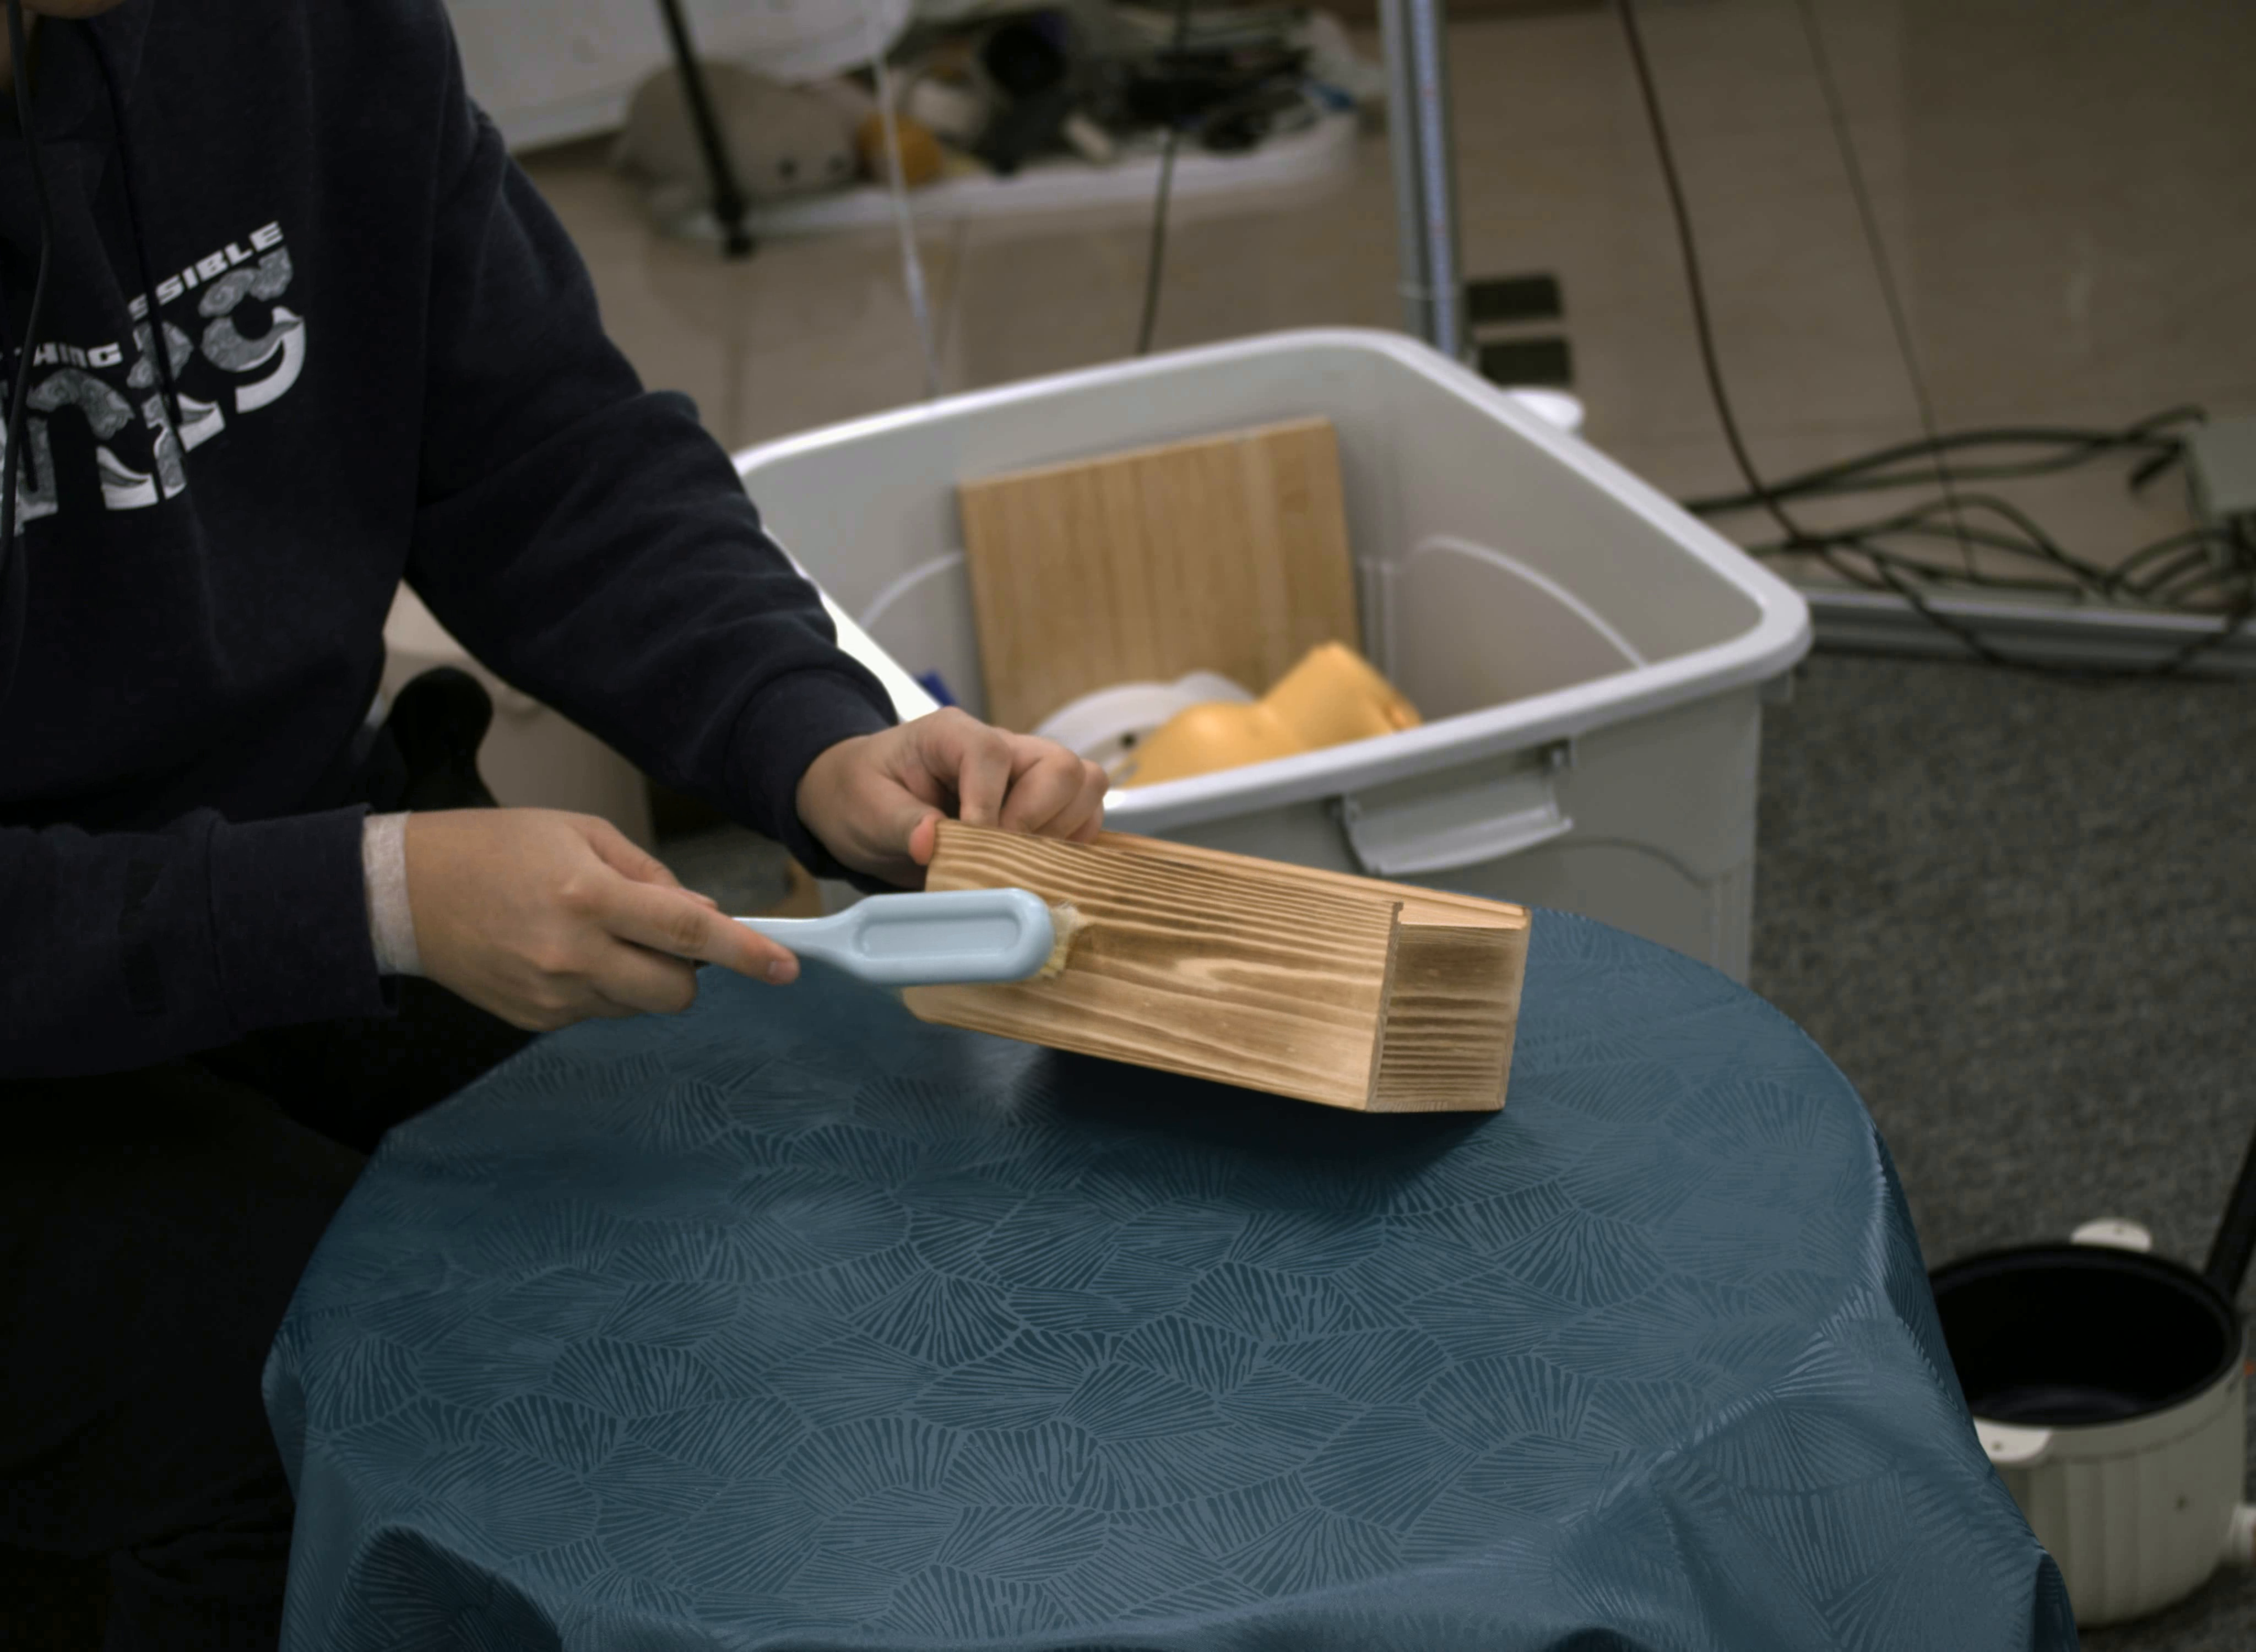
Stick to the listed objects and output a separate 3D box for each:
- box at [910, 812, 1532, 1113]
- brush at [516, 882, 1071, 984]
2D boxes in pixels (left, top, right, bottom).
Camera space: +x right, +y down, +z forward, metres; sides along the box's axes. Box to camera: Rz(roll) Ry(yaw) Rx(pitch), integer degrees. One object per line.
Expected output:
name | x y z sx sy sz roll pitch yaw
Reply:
box | 0.034 0.052 2.187 0.210 0.080 0.107 11 5 32
brush | -0.131 0.046 2.187 0.228 0.038 0.050 -4 -4 19
